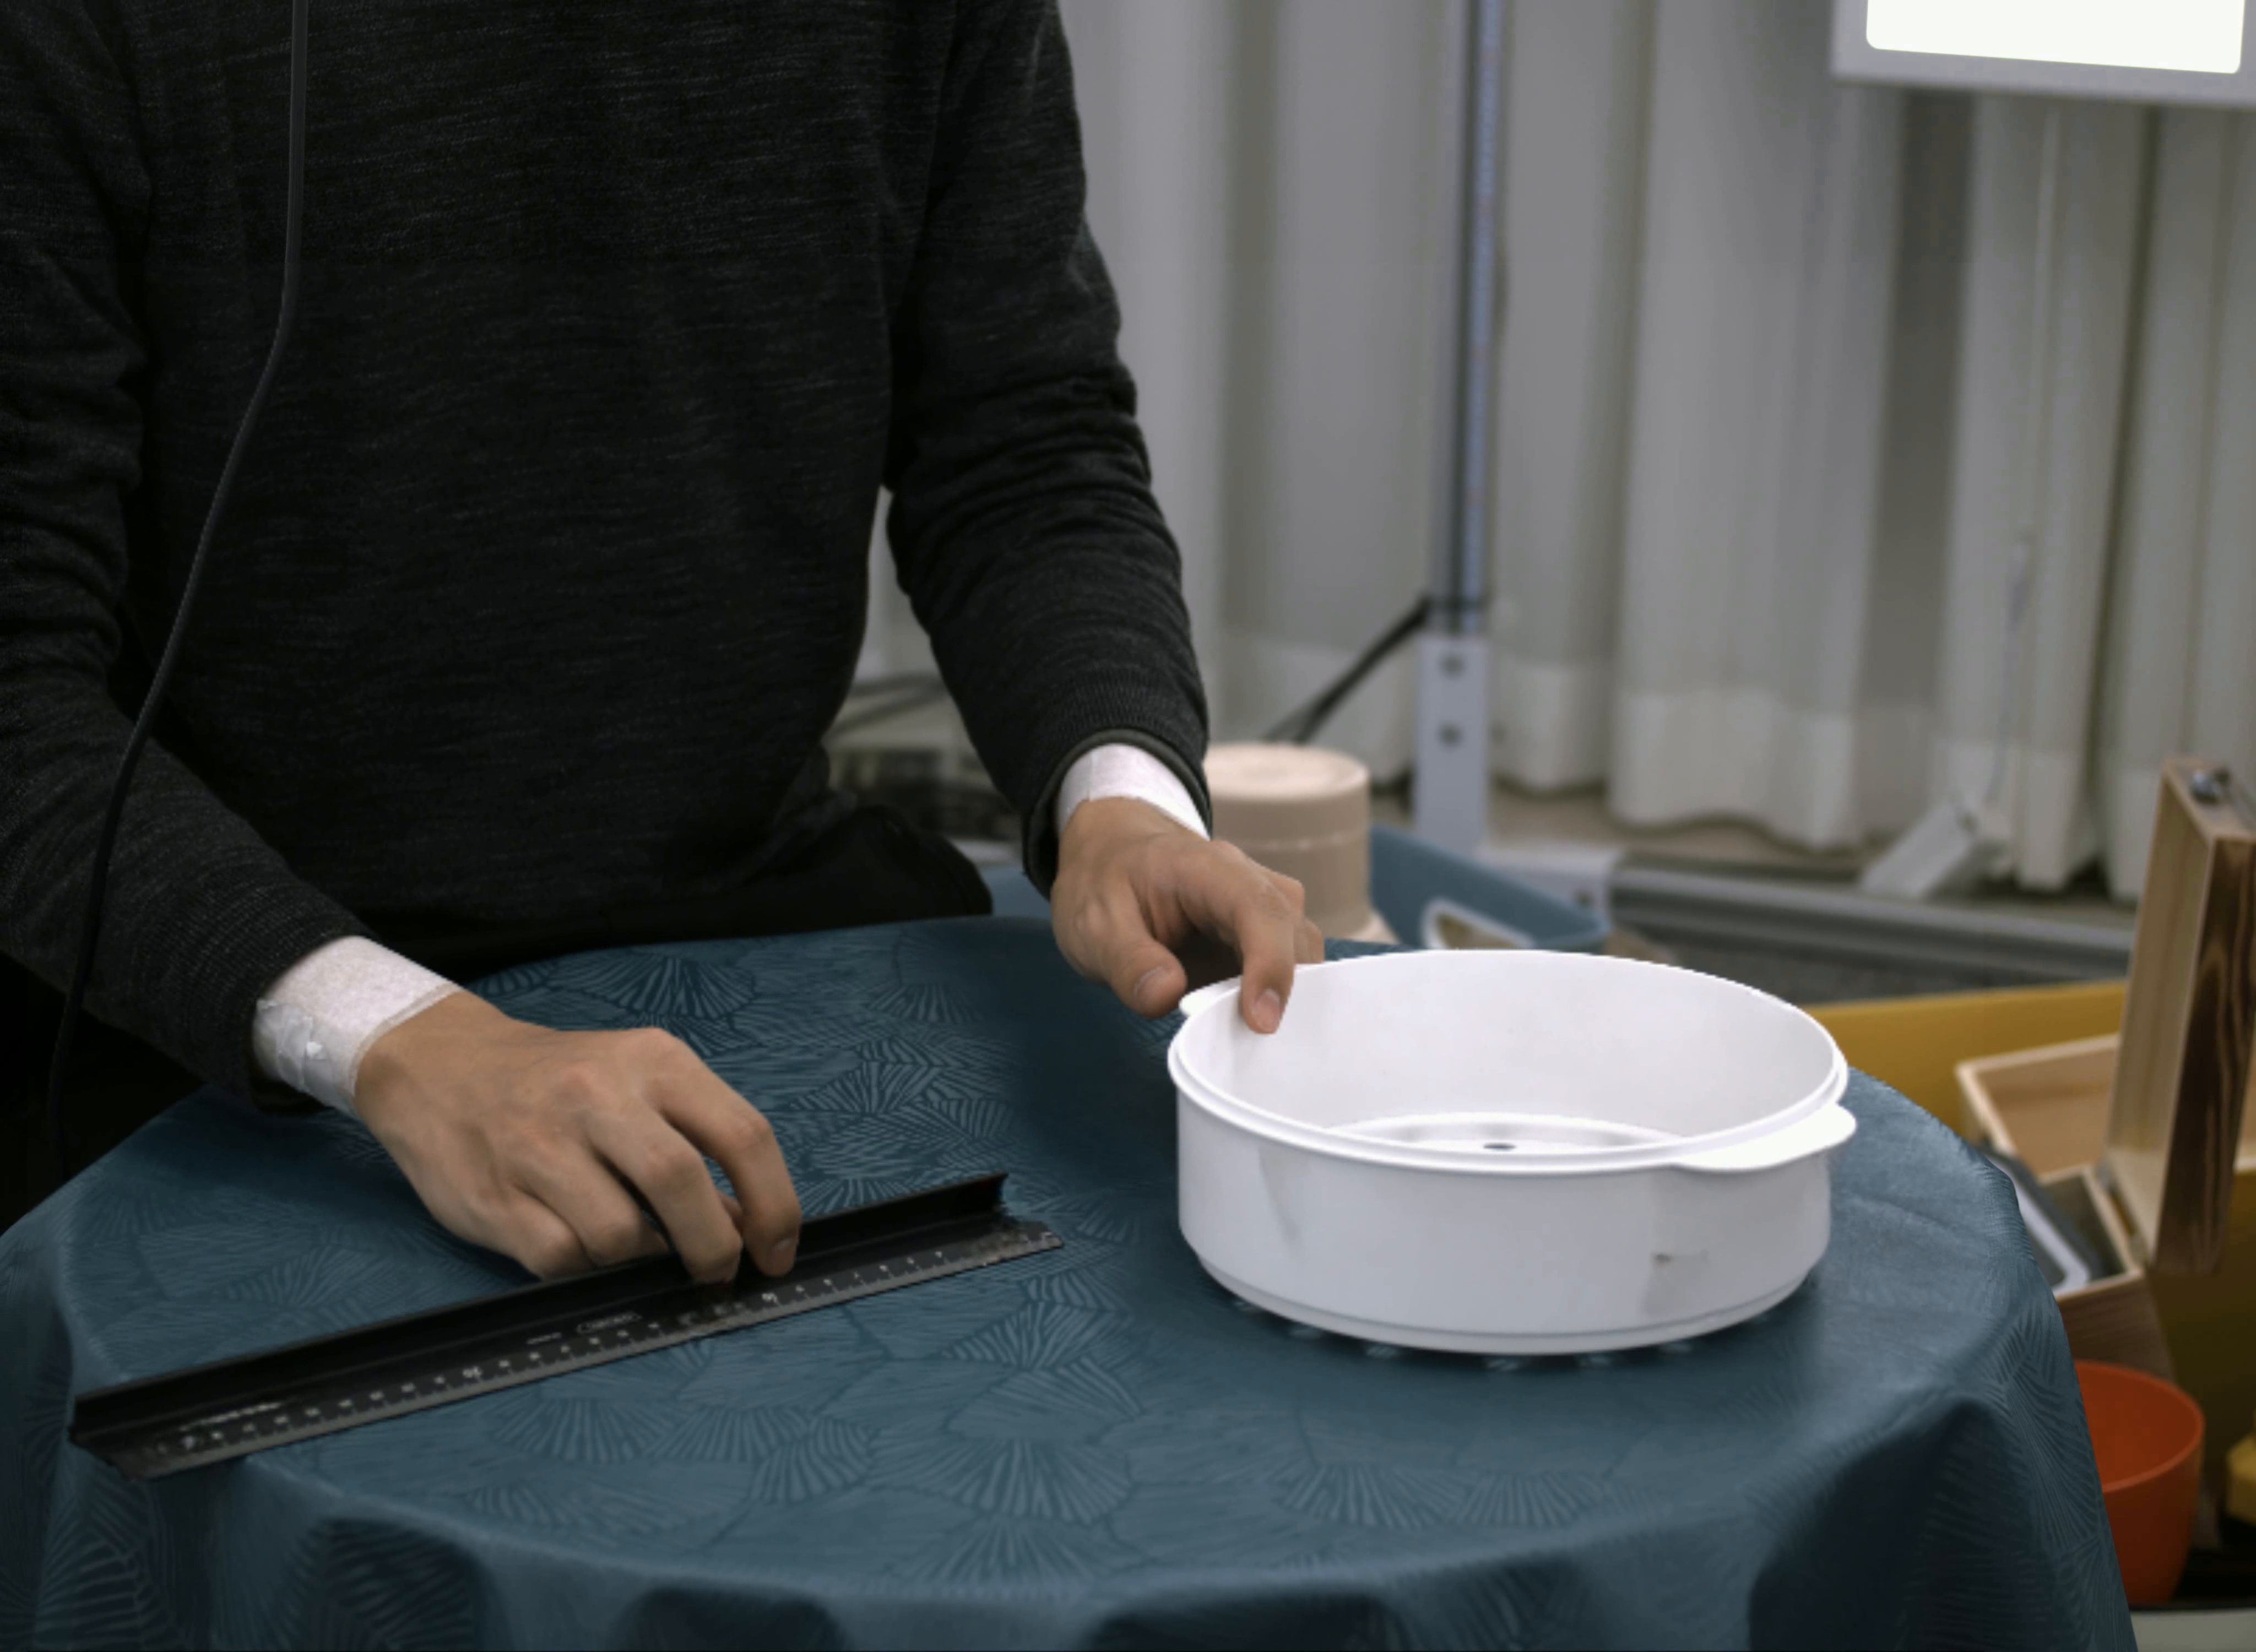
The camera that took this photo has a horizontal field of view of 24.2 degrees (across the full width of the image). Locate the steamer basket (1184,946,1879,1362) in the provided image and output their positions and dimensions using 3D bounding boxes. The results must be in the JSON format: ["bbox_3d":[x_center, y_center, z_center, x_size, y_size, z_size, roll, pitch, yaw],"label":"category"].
[{"bbox_3d":[0.115,0.096,1.553,0.227,0.070,0.203,18,23,41],"label":"steamer basket"}]

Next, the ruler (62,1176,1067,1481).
[{"bbox_3d":[-0.152,0.139,1.490,0.314,0.017,0.039,-11,22,-36],"label":"ruler"}]
